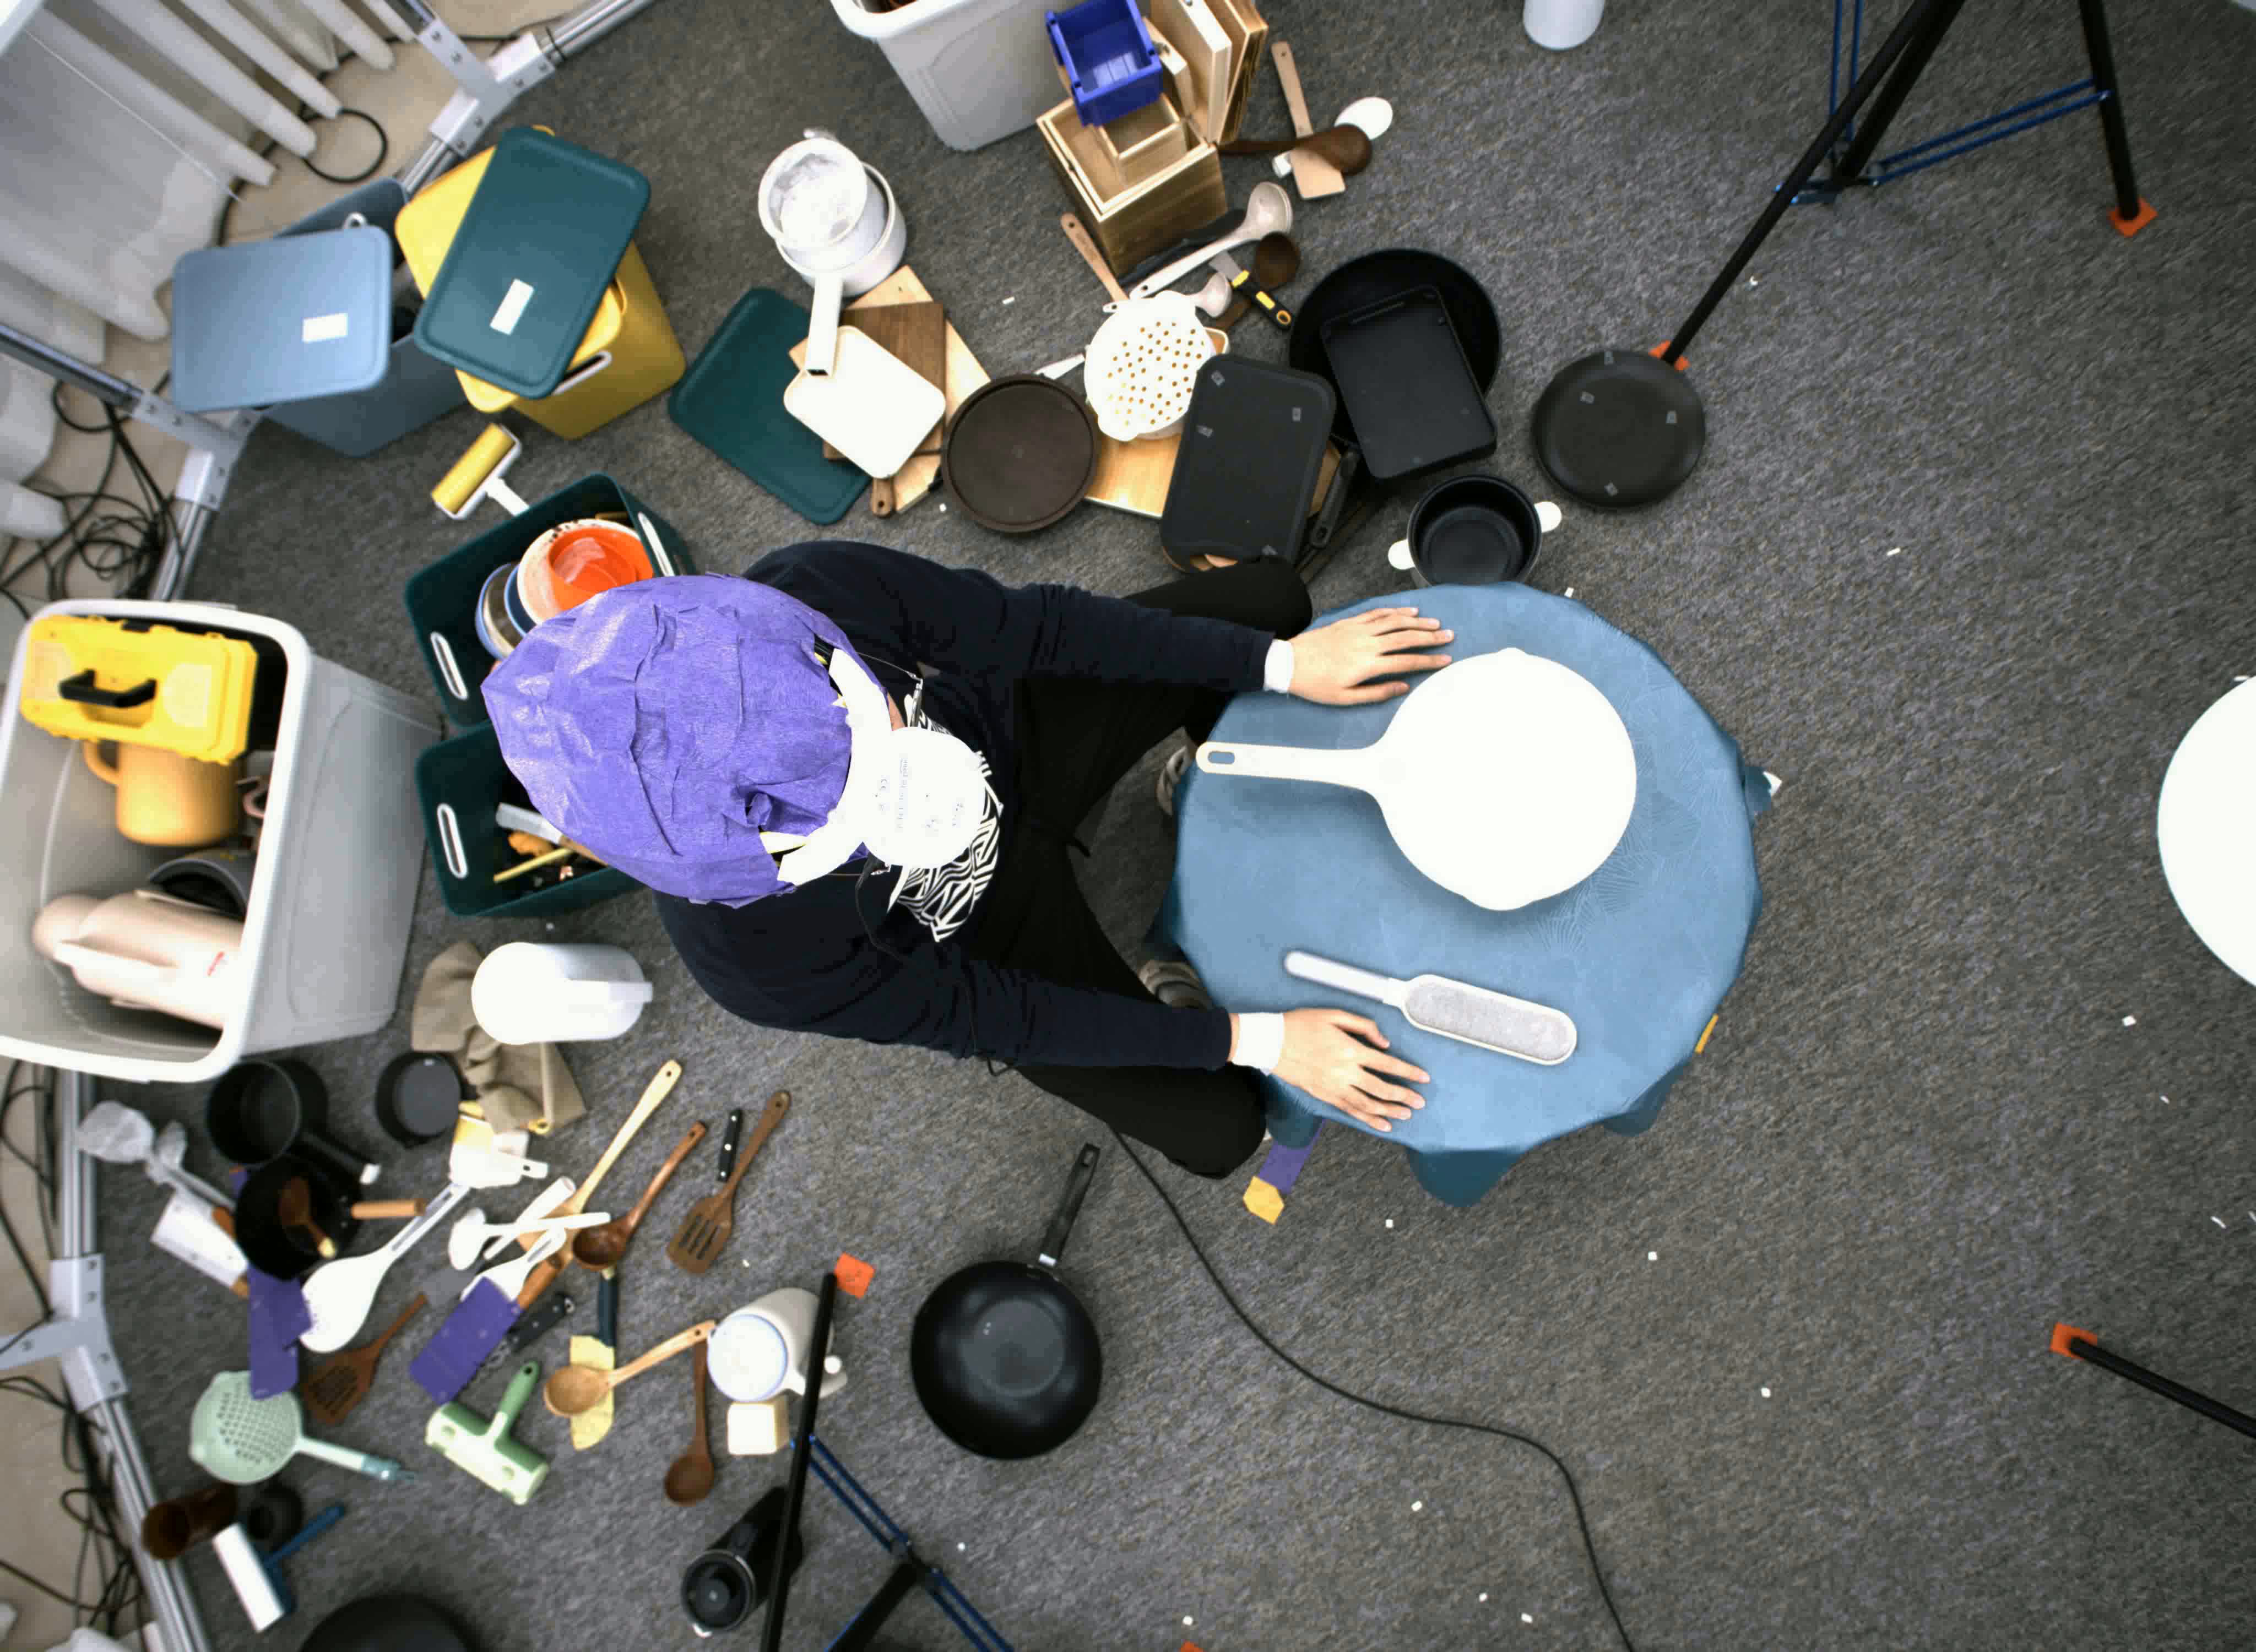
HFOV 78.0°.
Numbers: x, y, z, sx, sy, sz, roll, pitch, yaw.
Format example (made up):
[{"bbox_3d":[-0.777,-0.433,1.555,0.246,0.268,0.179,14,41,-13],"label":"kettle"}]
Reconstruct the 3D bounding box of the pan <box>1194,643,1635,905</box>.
[{"bbox_3d":[0.289,-0.058,1.414,0.436,0.102,0.263,3,89,11],"label":"pan"}]

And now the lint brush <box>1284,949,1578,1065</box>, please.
[{"bbox_3d":[0.311,0.179,1.432,0.309,0.021,0.060,16,94,11],"label":"lint brush"}]
